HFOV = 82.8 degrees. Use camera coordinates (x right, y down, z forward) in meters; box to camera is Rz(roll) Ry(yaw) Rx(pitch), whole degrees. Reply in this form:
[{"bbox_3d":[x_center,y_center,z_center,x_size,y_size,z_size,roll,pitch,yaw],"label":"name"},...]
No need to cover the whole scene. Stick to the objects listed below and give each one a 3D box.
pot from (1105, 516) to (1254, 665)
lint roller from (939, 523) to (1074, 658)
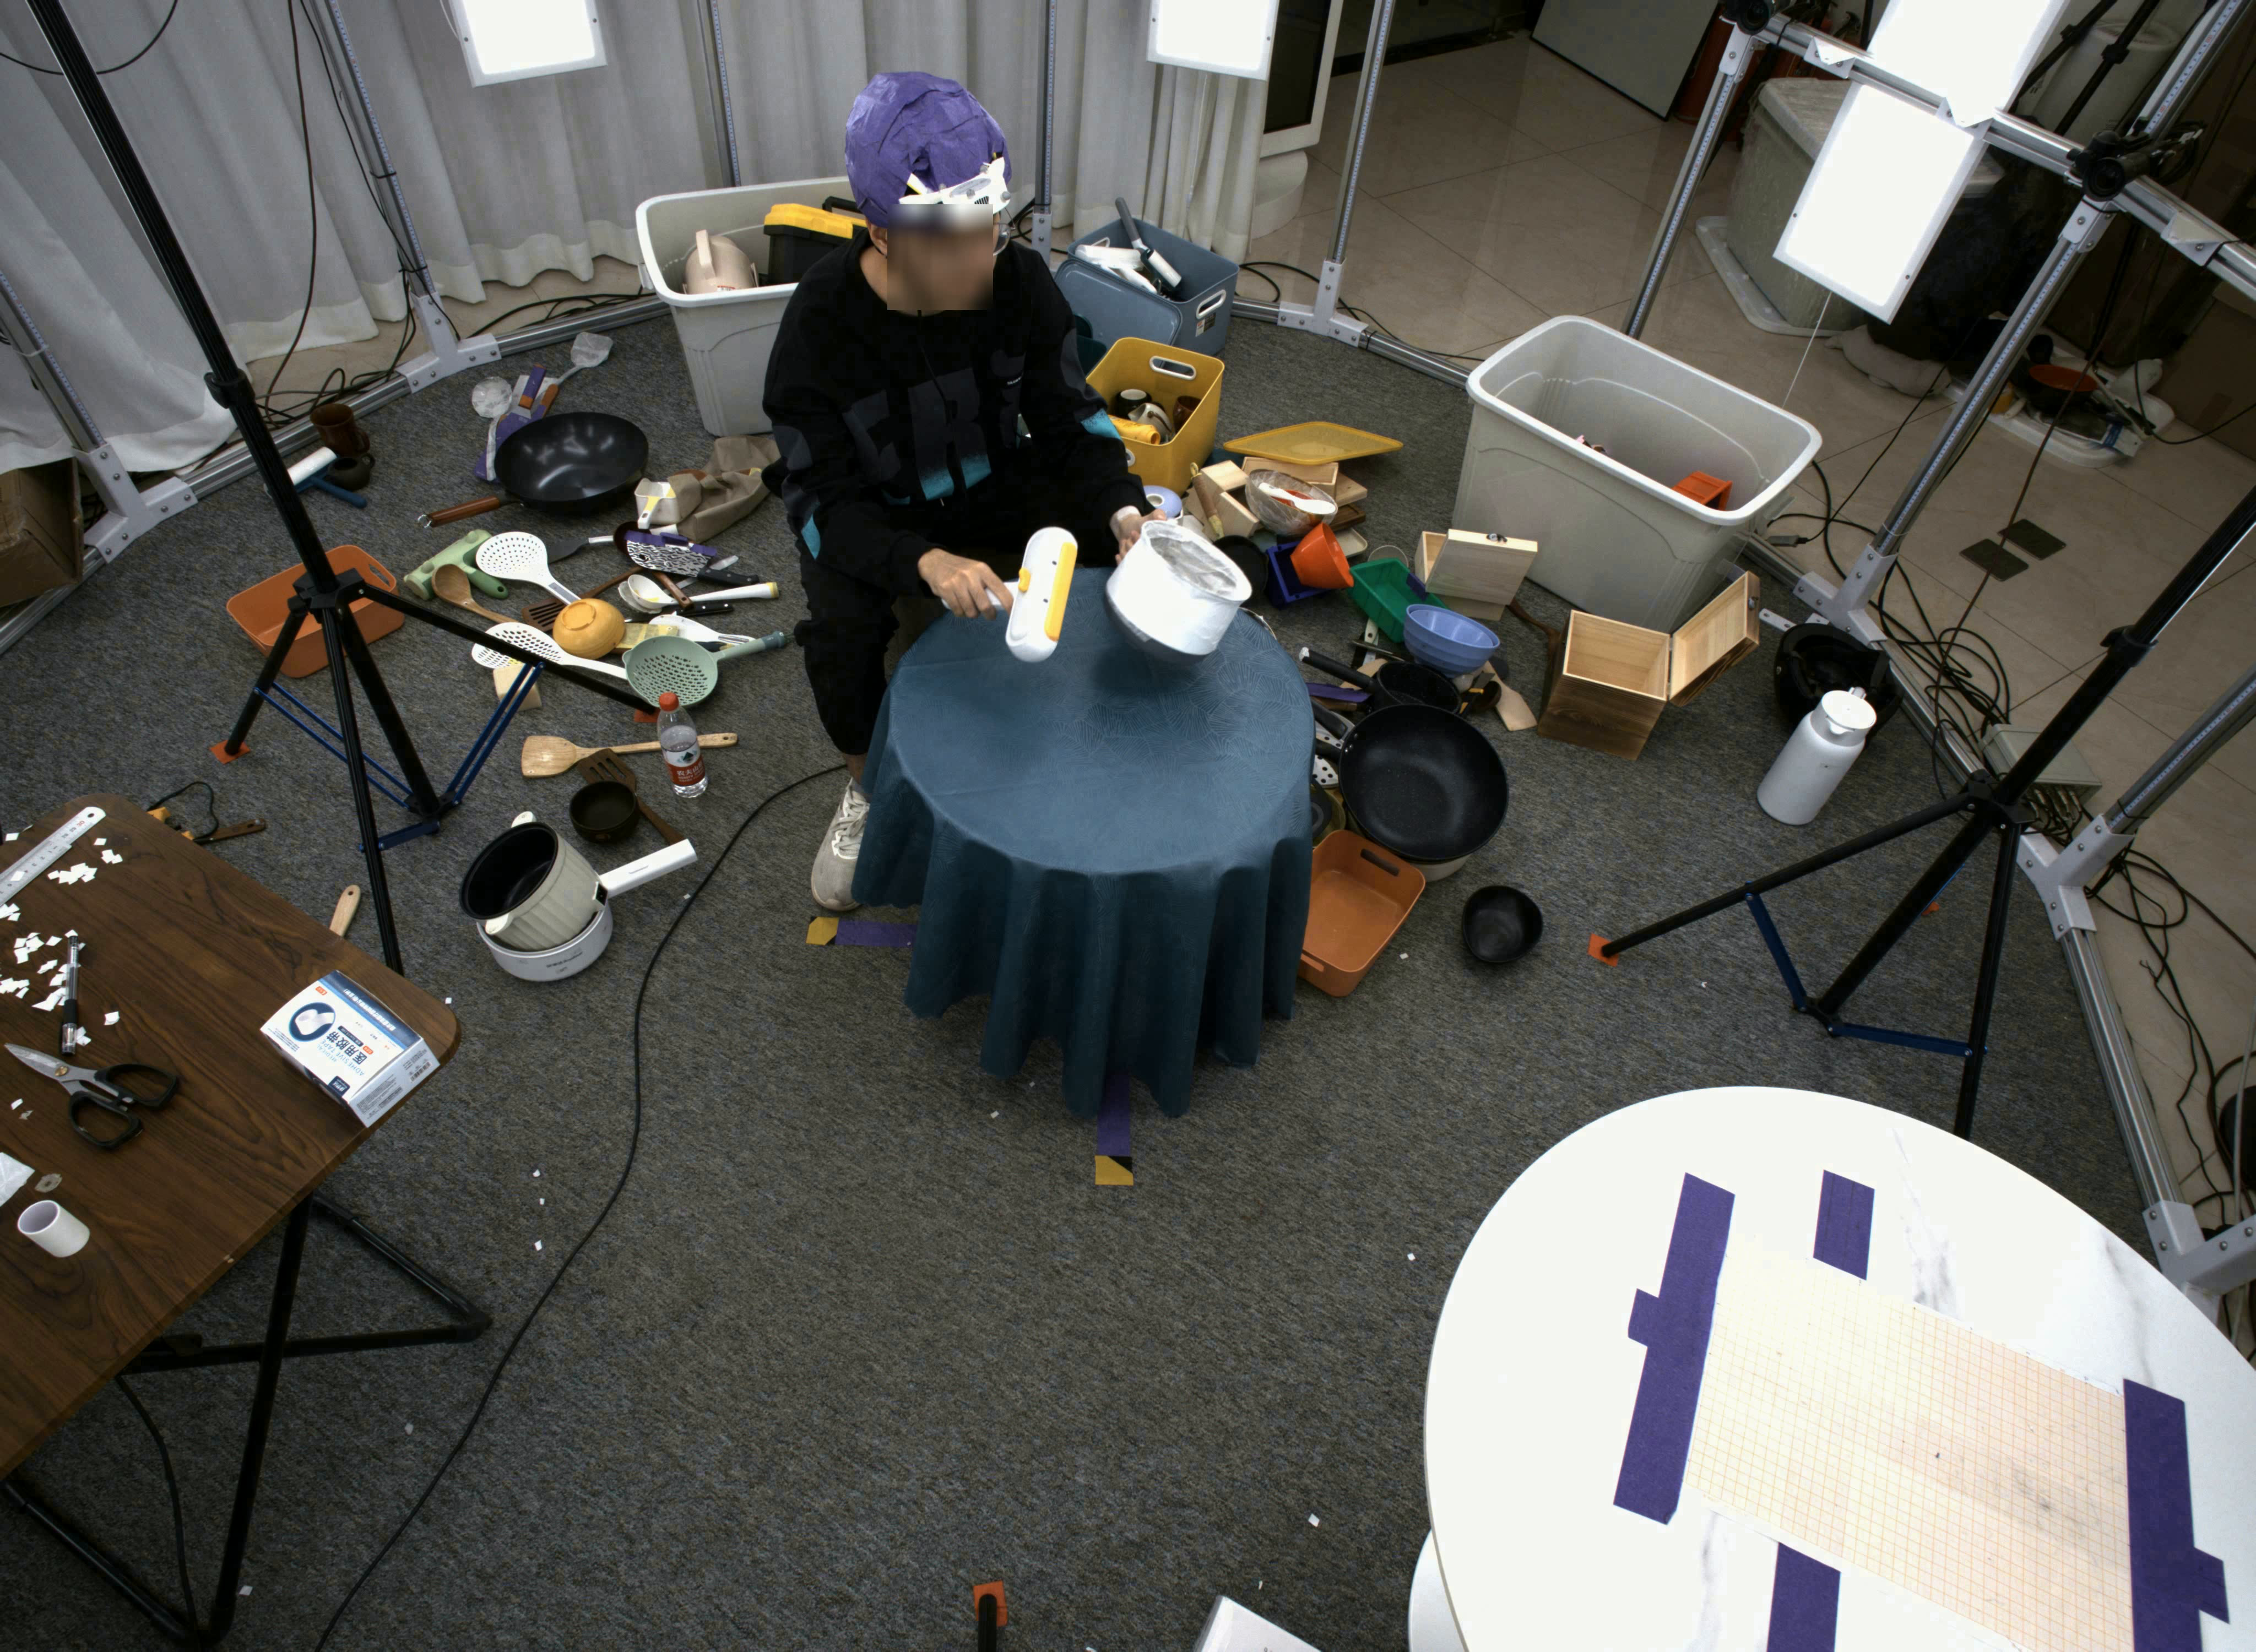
[{"bbox_3d":[0.058,-0.342,1.814,0.177,0.134,0.239,14,36,-35],"label":"pot"},{"bbox_3d":[-0.169,-0.316,1.761,0.192,0.073,0.196,-6,68,34],"label":"lint roller"}]
